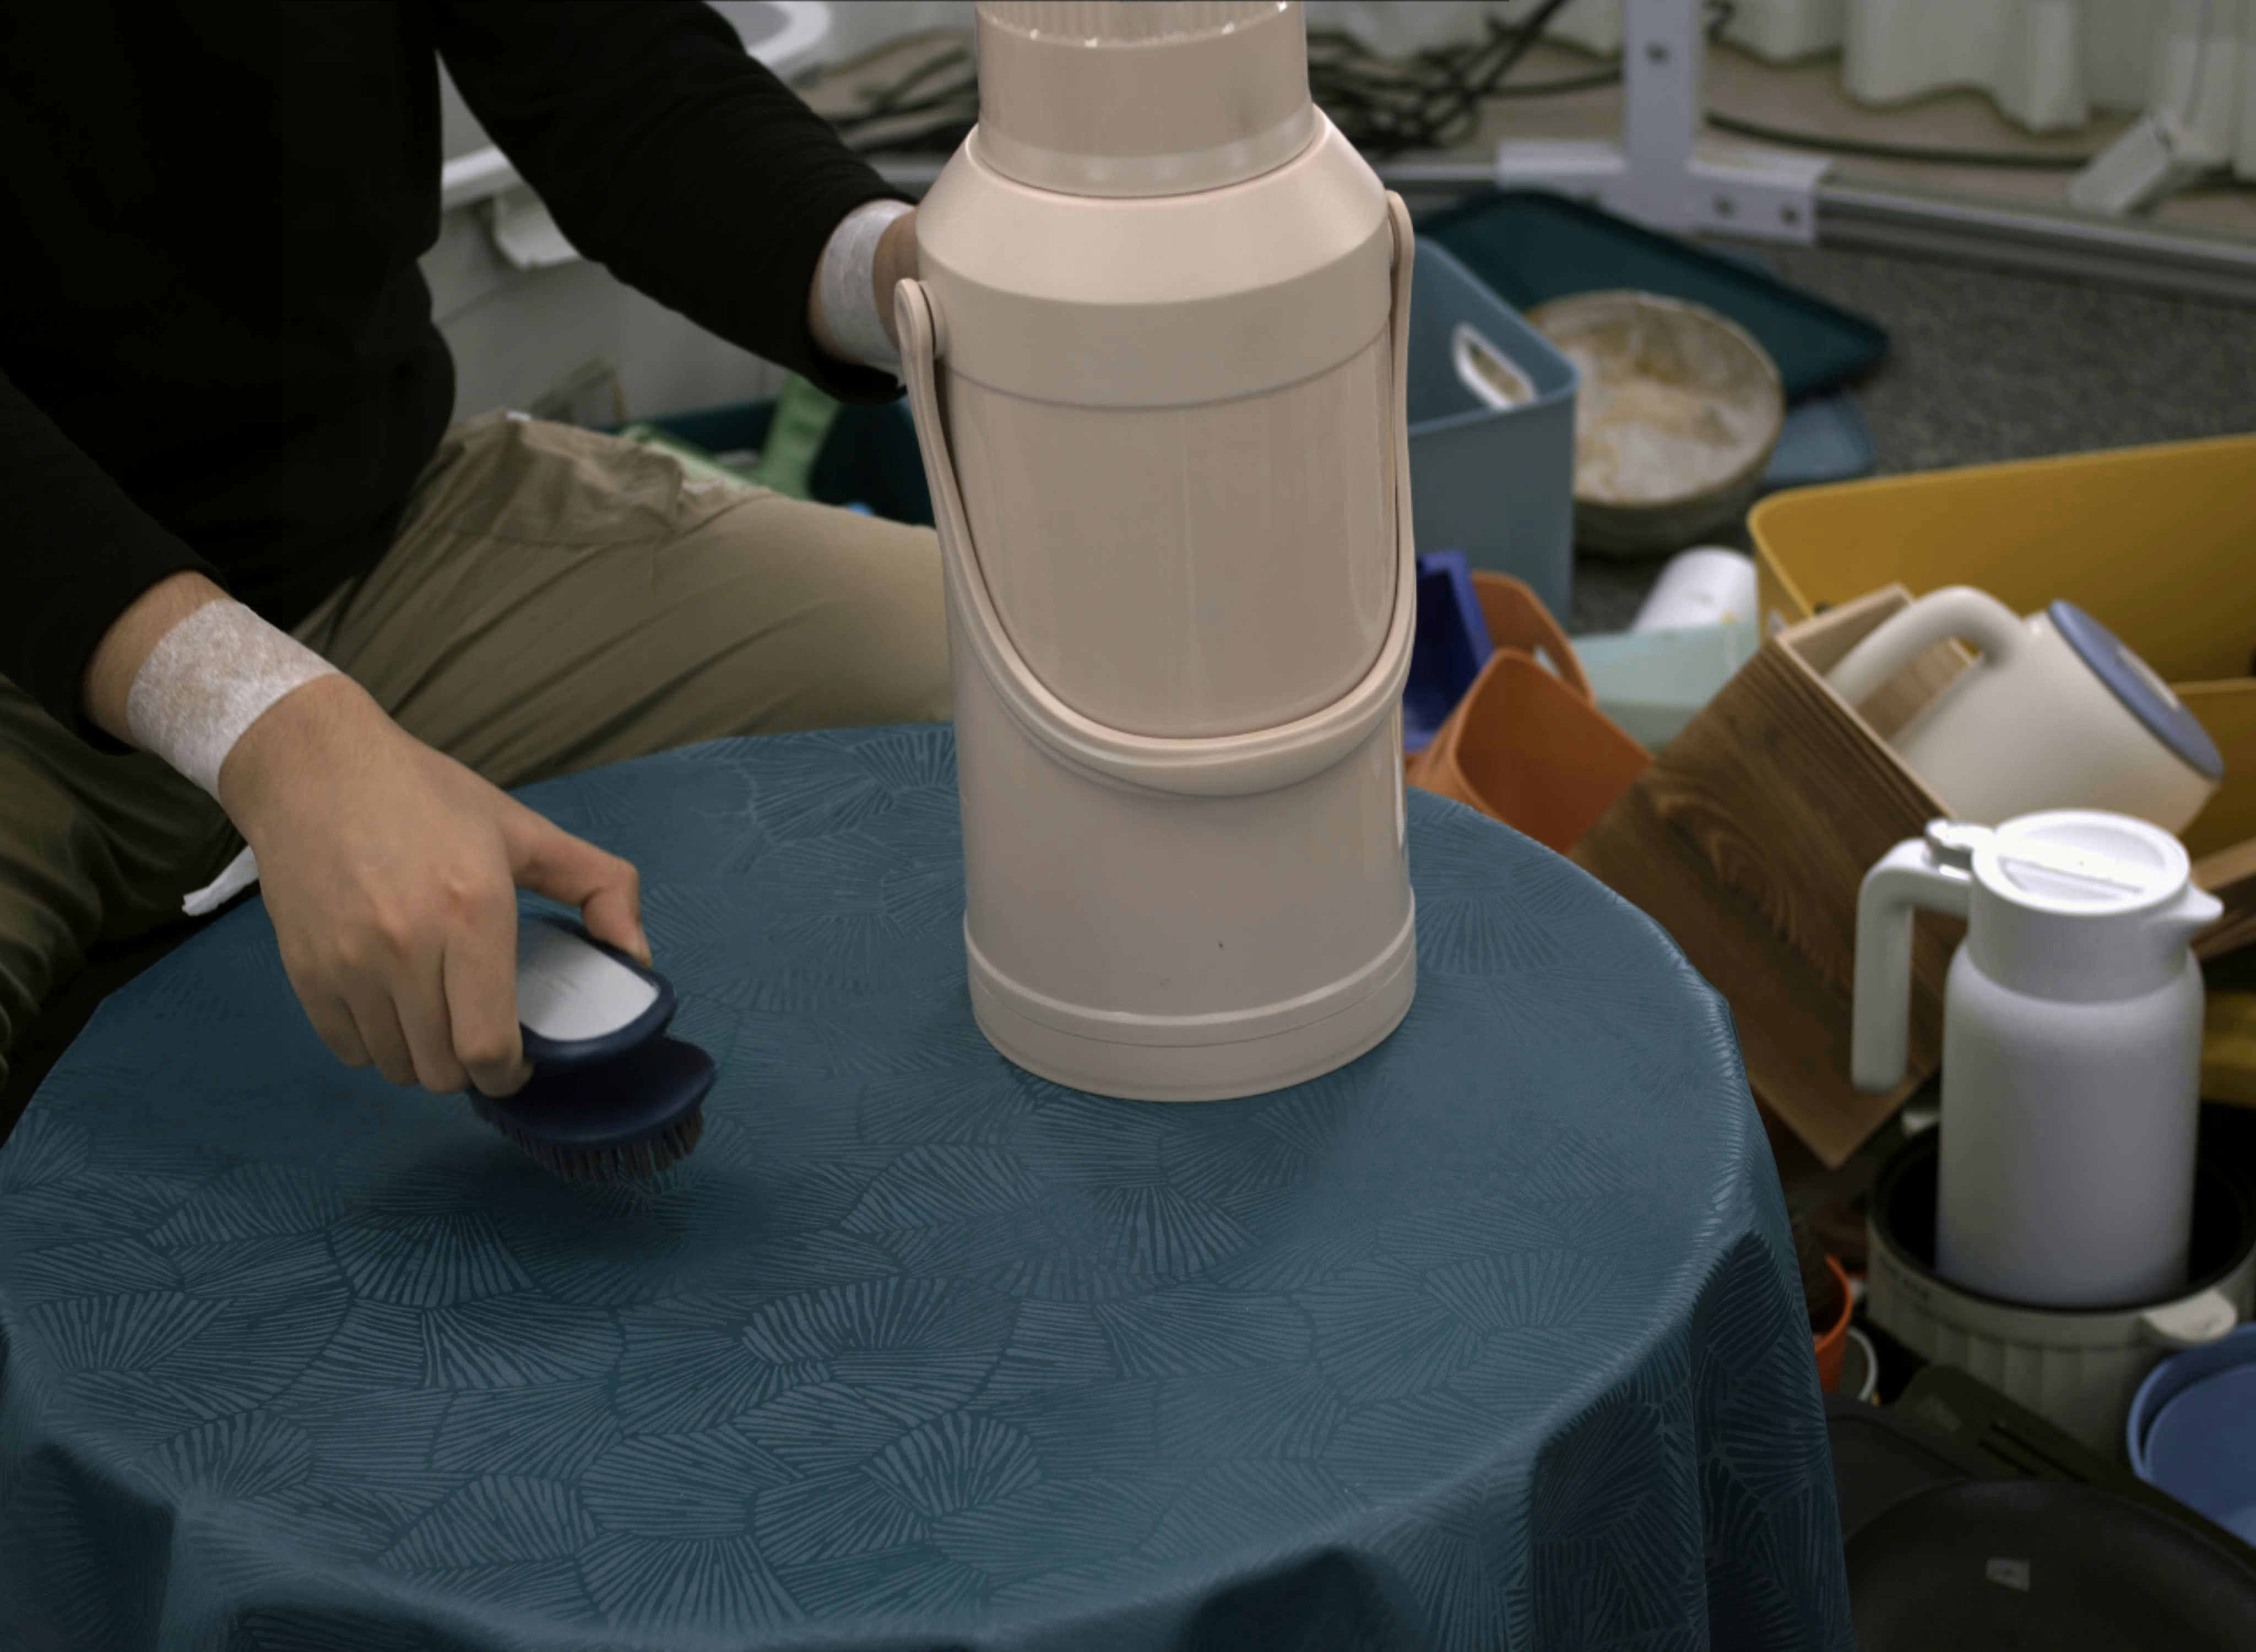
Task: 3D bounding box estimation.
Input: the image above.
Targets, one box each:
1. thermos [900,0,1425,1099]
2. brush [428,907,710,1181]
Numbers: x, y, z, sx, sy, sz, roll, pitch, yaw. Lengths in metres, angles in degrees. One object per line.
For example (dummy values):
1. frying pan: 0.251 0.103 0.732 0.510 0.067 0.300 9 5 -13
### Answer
1. thermos: 0.011 -0.124 1.909 0.176 0.402 0.209 -13 28 -16
2. brush: -0.185 0.074 1.853 0.068 0.060 0.122 -24 30 -25
